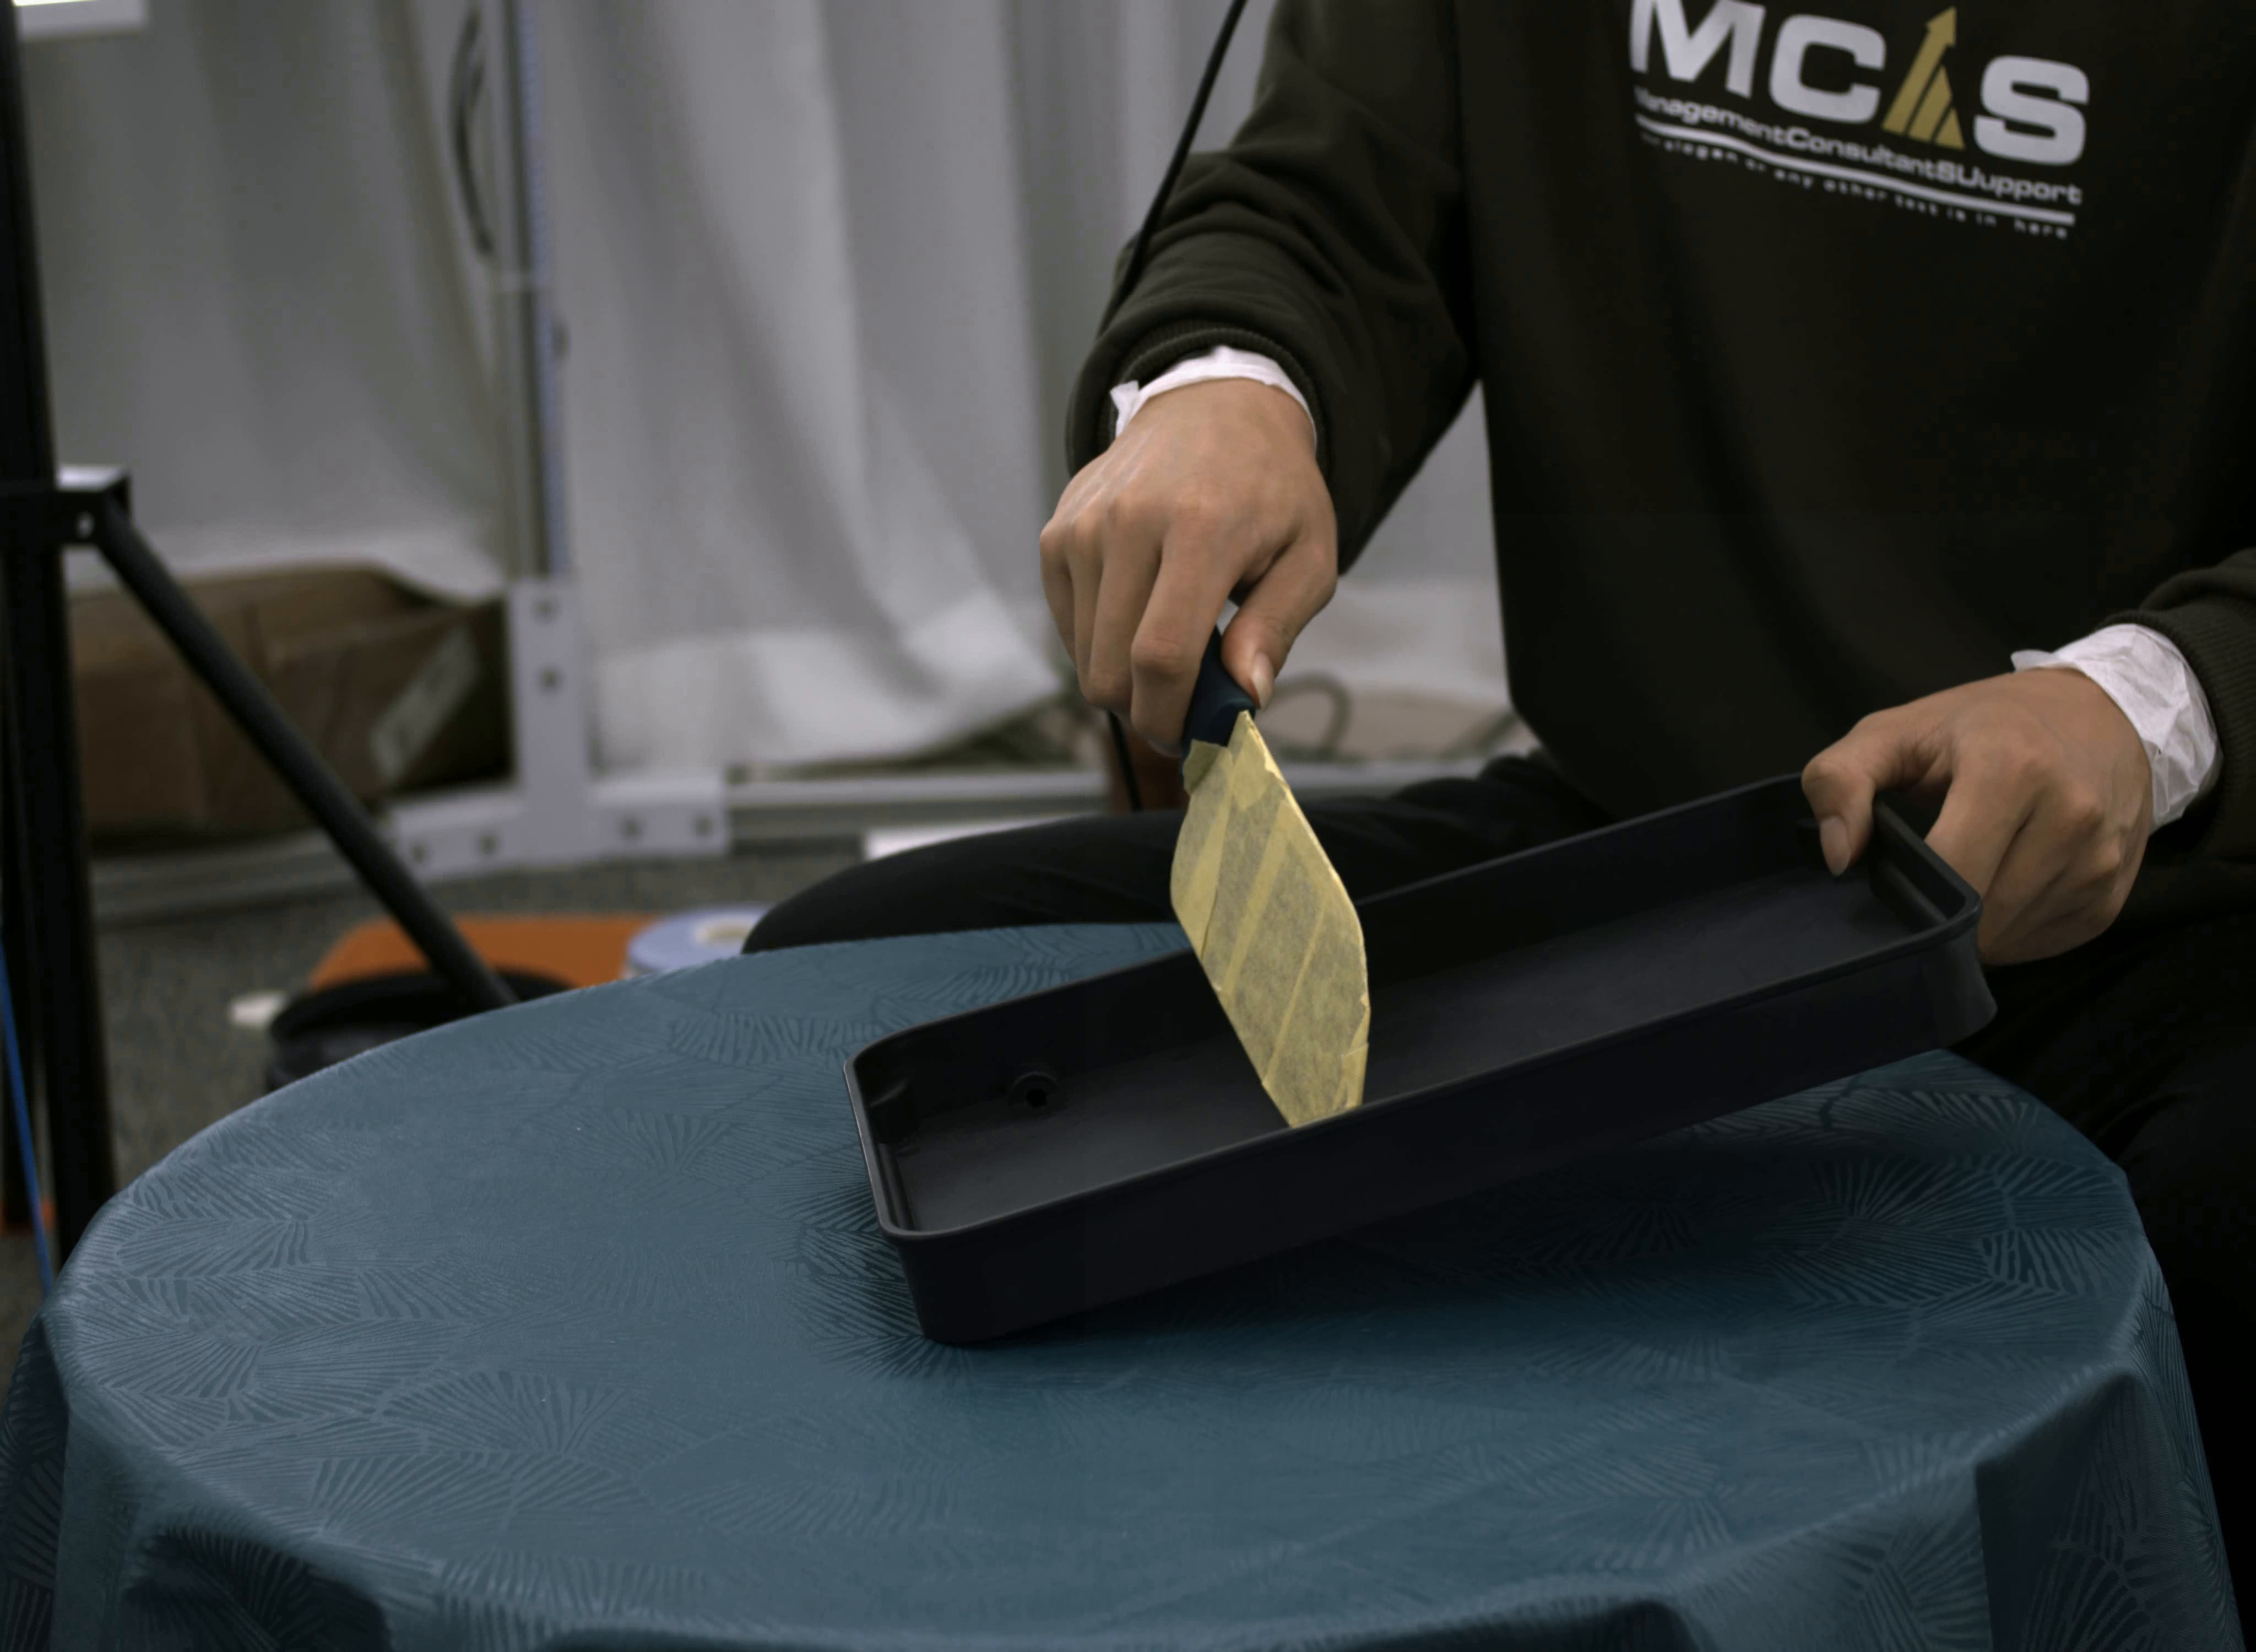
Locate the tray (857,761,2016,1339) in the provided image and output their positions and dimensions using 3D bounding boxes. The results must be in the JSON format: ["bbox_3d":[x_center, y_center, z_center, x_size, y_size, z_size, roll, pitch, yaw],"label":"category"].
[{"bbox_3d":[0.085,0.061,1.523,0.316,0.037,0.186,-17,15,-3],"label":"tray"}]

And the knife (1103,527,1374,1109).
[{"bbox_3d":[0.030,-0.001,1.574,0.026,0.081,0.294,10,31,-21],"label":"knife"}]
